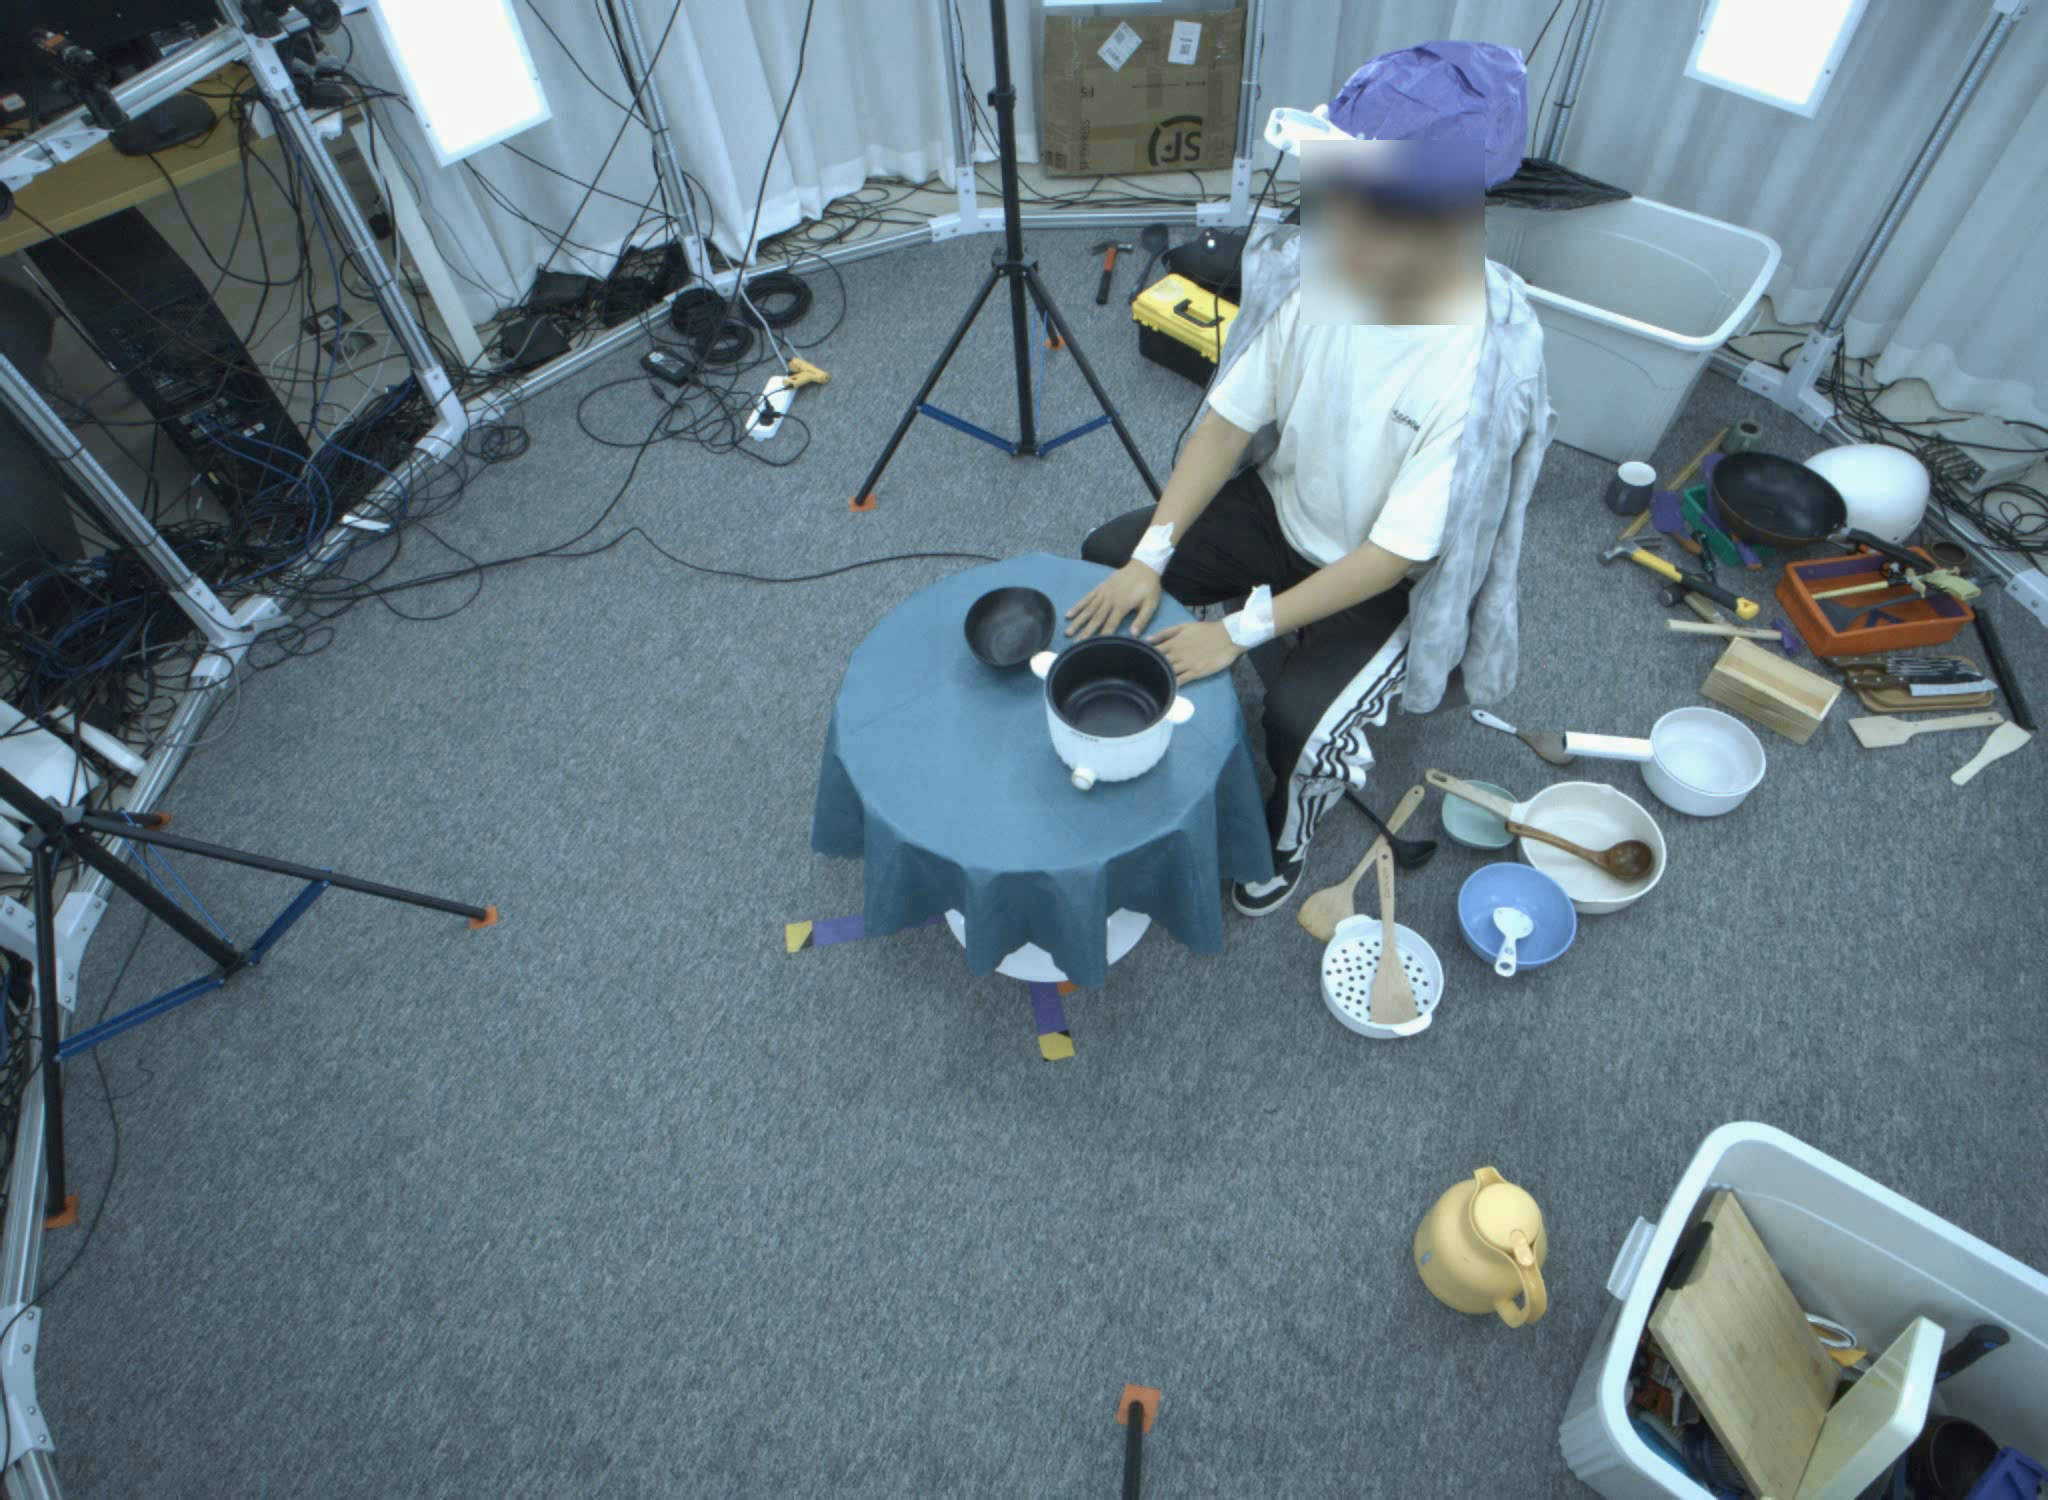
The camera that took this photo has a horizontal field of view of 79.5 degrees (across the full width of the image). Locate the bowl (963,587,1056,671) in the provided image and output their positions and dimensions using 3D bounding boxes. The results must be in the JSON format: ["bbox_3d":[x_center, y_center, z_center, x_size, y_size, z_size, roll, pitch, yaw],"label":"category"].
[{"bbox_3d":[-0.020,-0.178,1.877,0.136,0.067,0.170,12,55,9],"label":"bowl"}]

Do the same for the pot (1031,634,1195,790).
[{"bbox_3d":[0.121,-0.047,1.734,0.237,0.144,0.191,20,55,16],"label":"pot"}]
